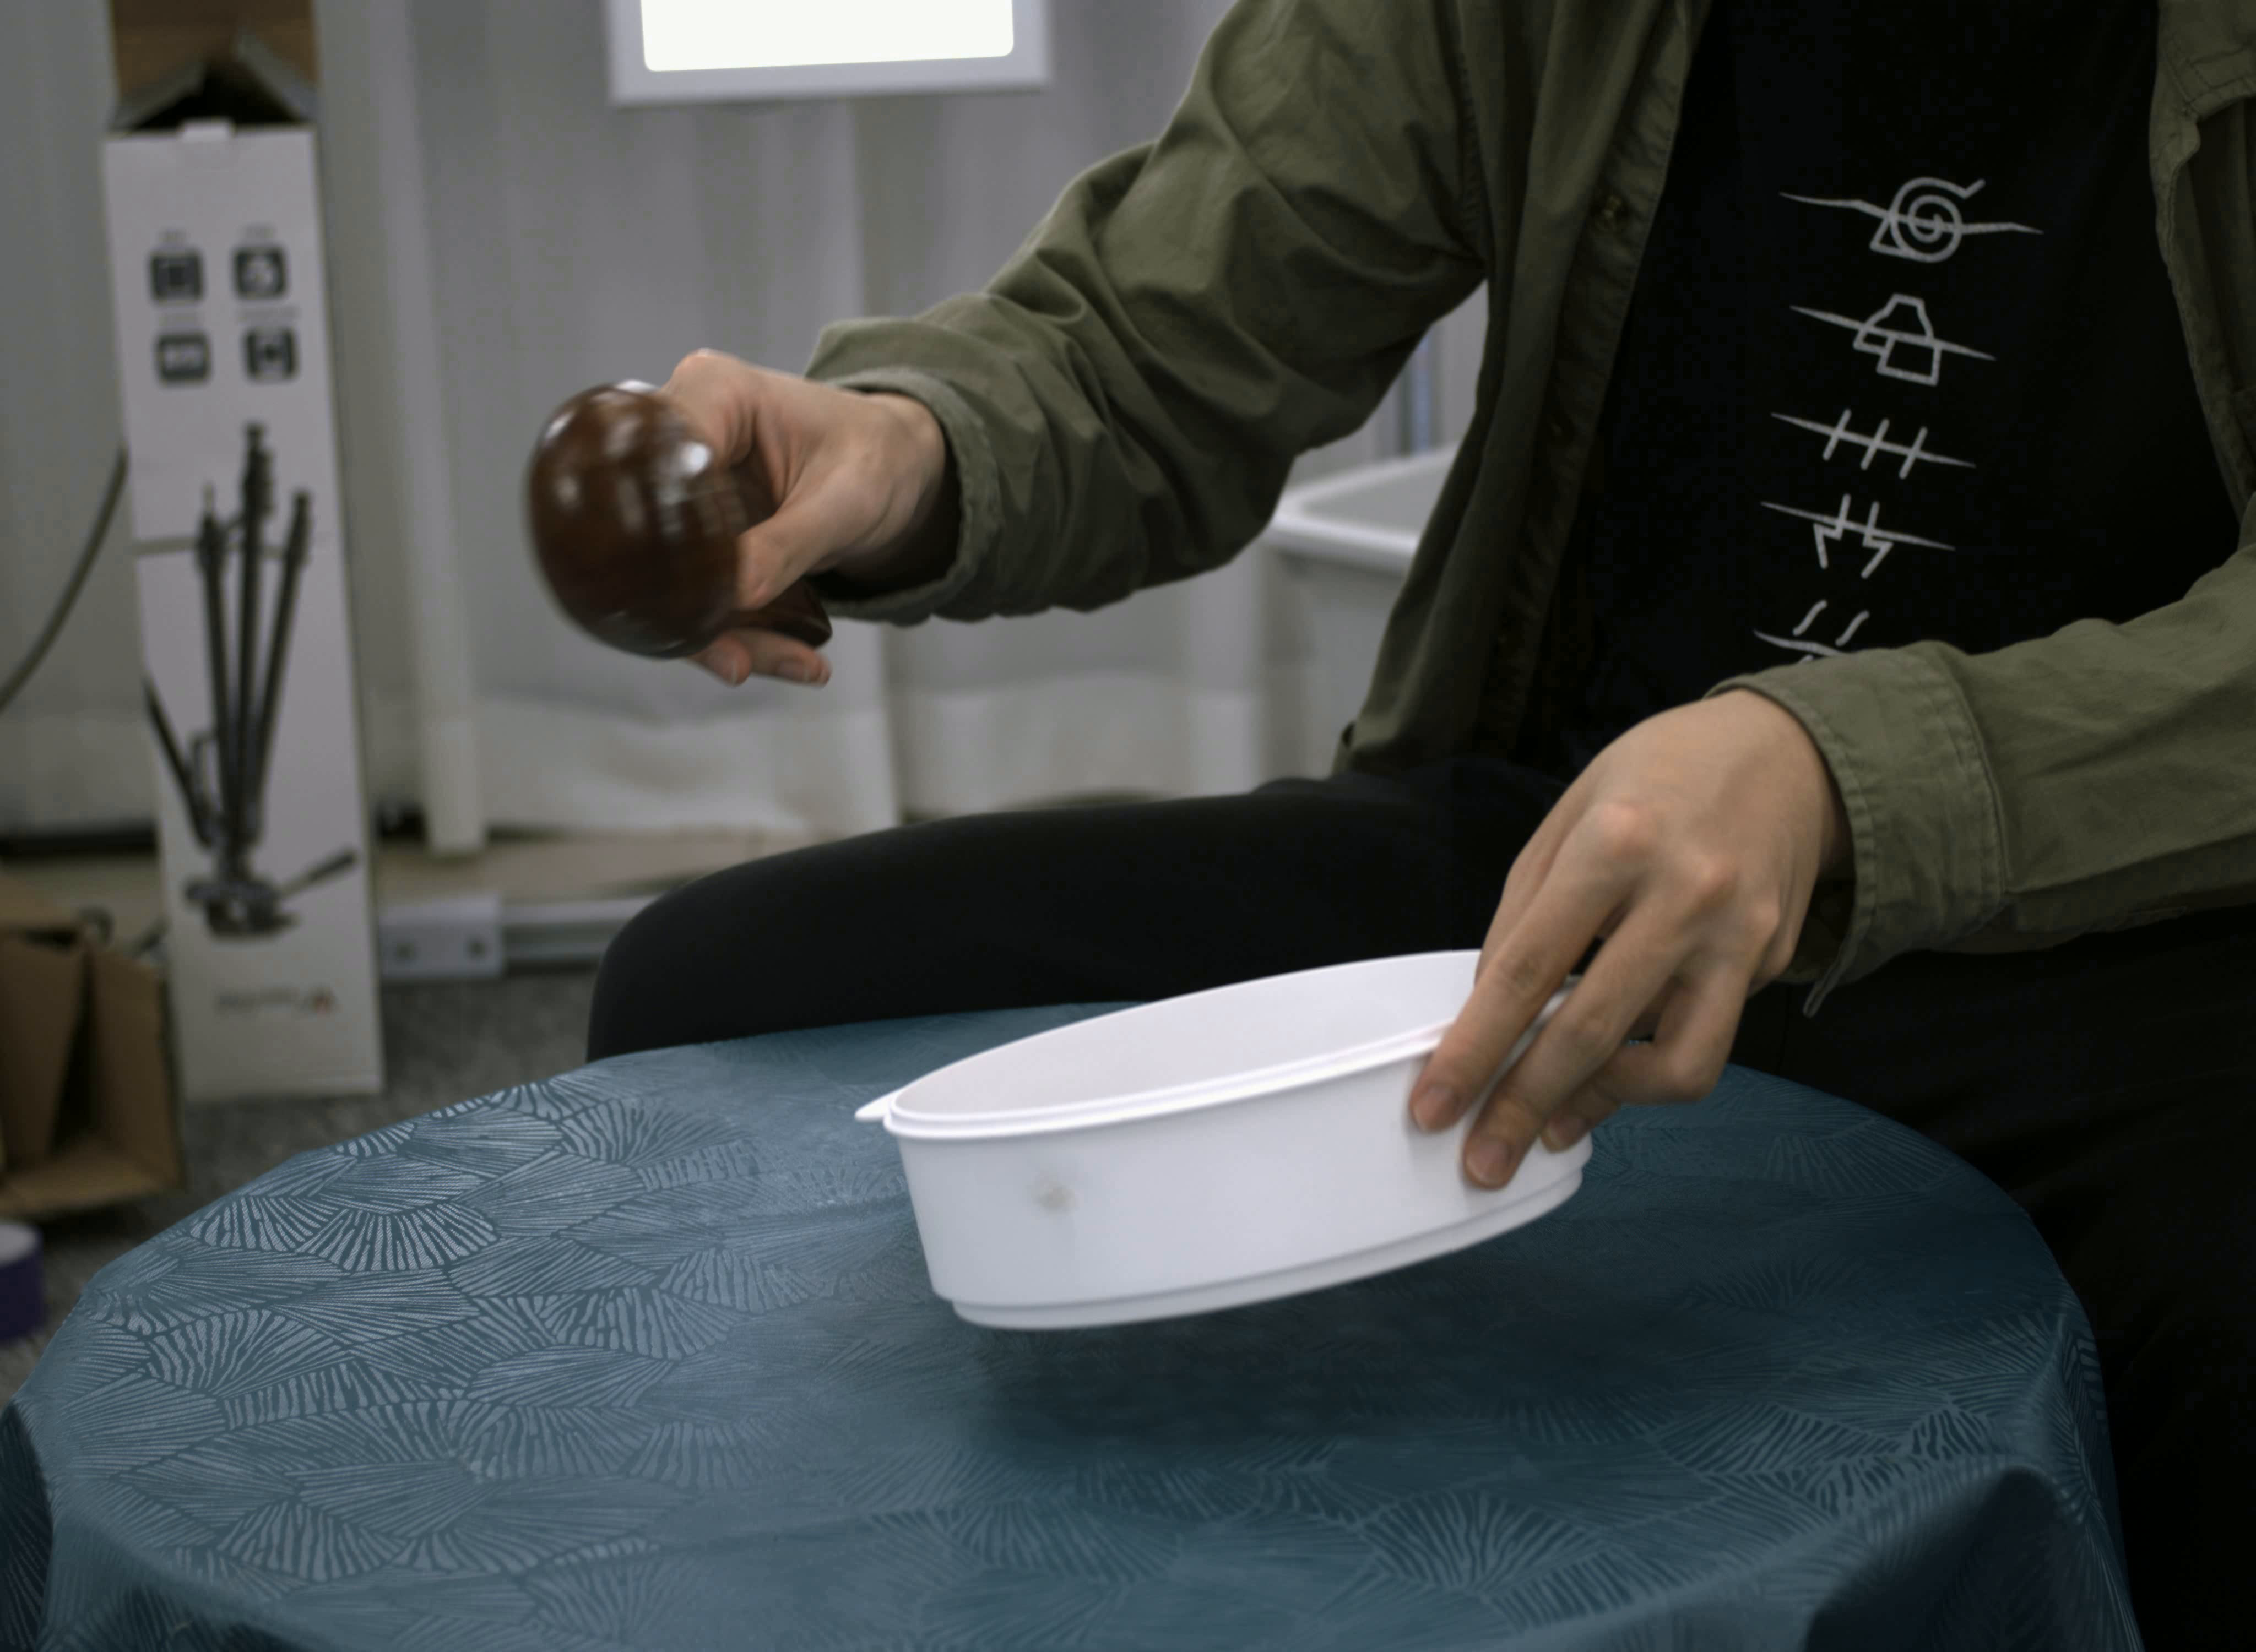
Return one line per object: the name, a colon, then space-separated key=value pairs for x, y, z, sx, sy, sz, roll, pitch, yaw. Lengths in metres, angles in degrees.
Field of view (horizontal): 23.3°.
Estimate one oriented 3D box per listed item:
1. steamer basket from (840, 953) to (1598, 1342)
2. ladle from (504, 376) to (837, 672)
steamer basket: x=0.030 y=0.093 z=1.569 sx=0.230 sy=0.069 sz=0.202 roll=-9 pitch=7 yaw=27
ladle: x=-0.117 y=-0.084 z=1.651 sx=0.076 sy=0.082 sz=0.273 roll=-30 pitch=-9 yaw=14
